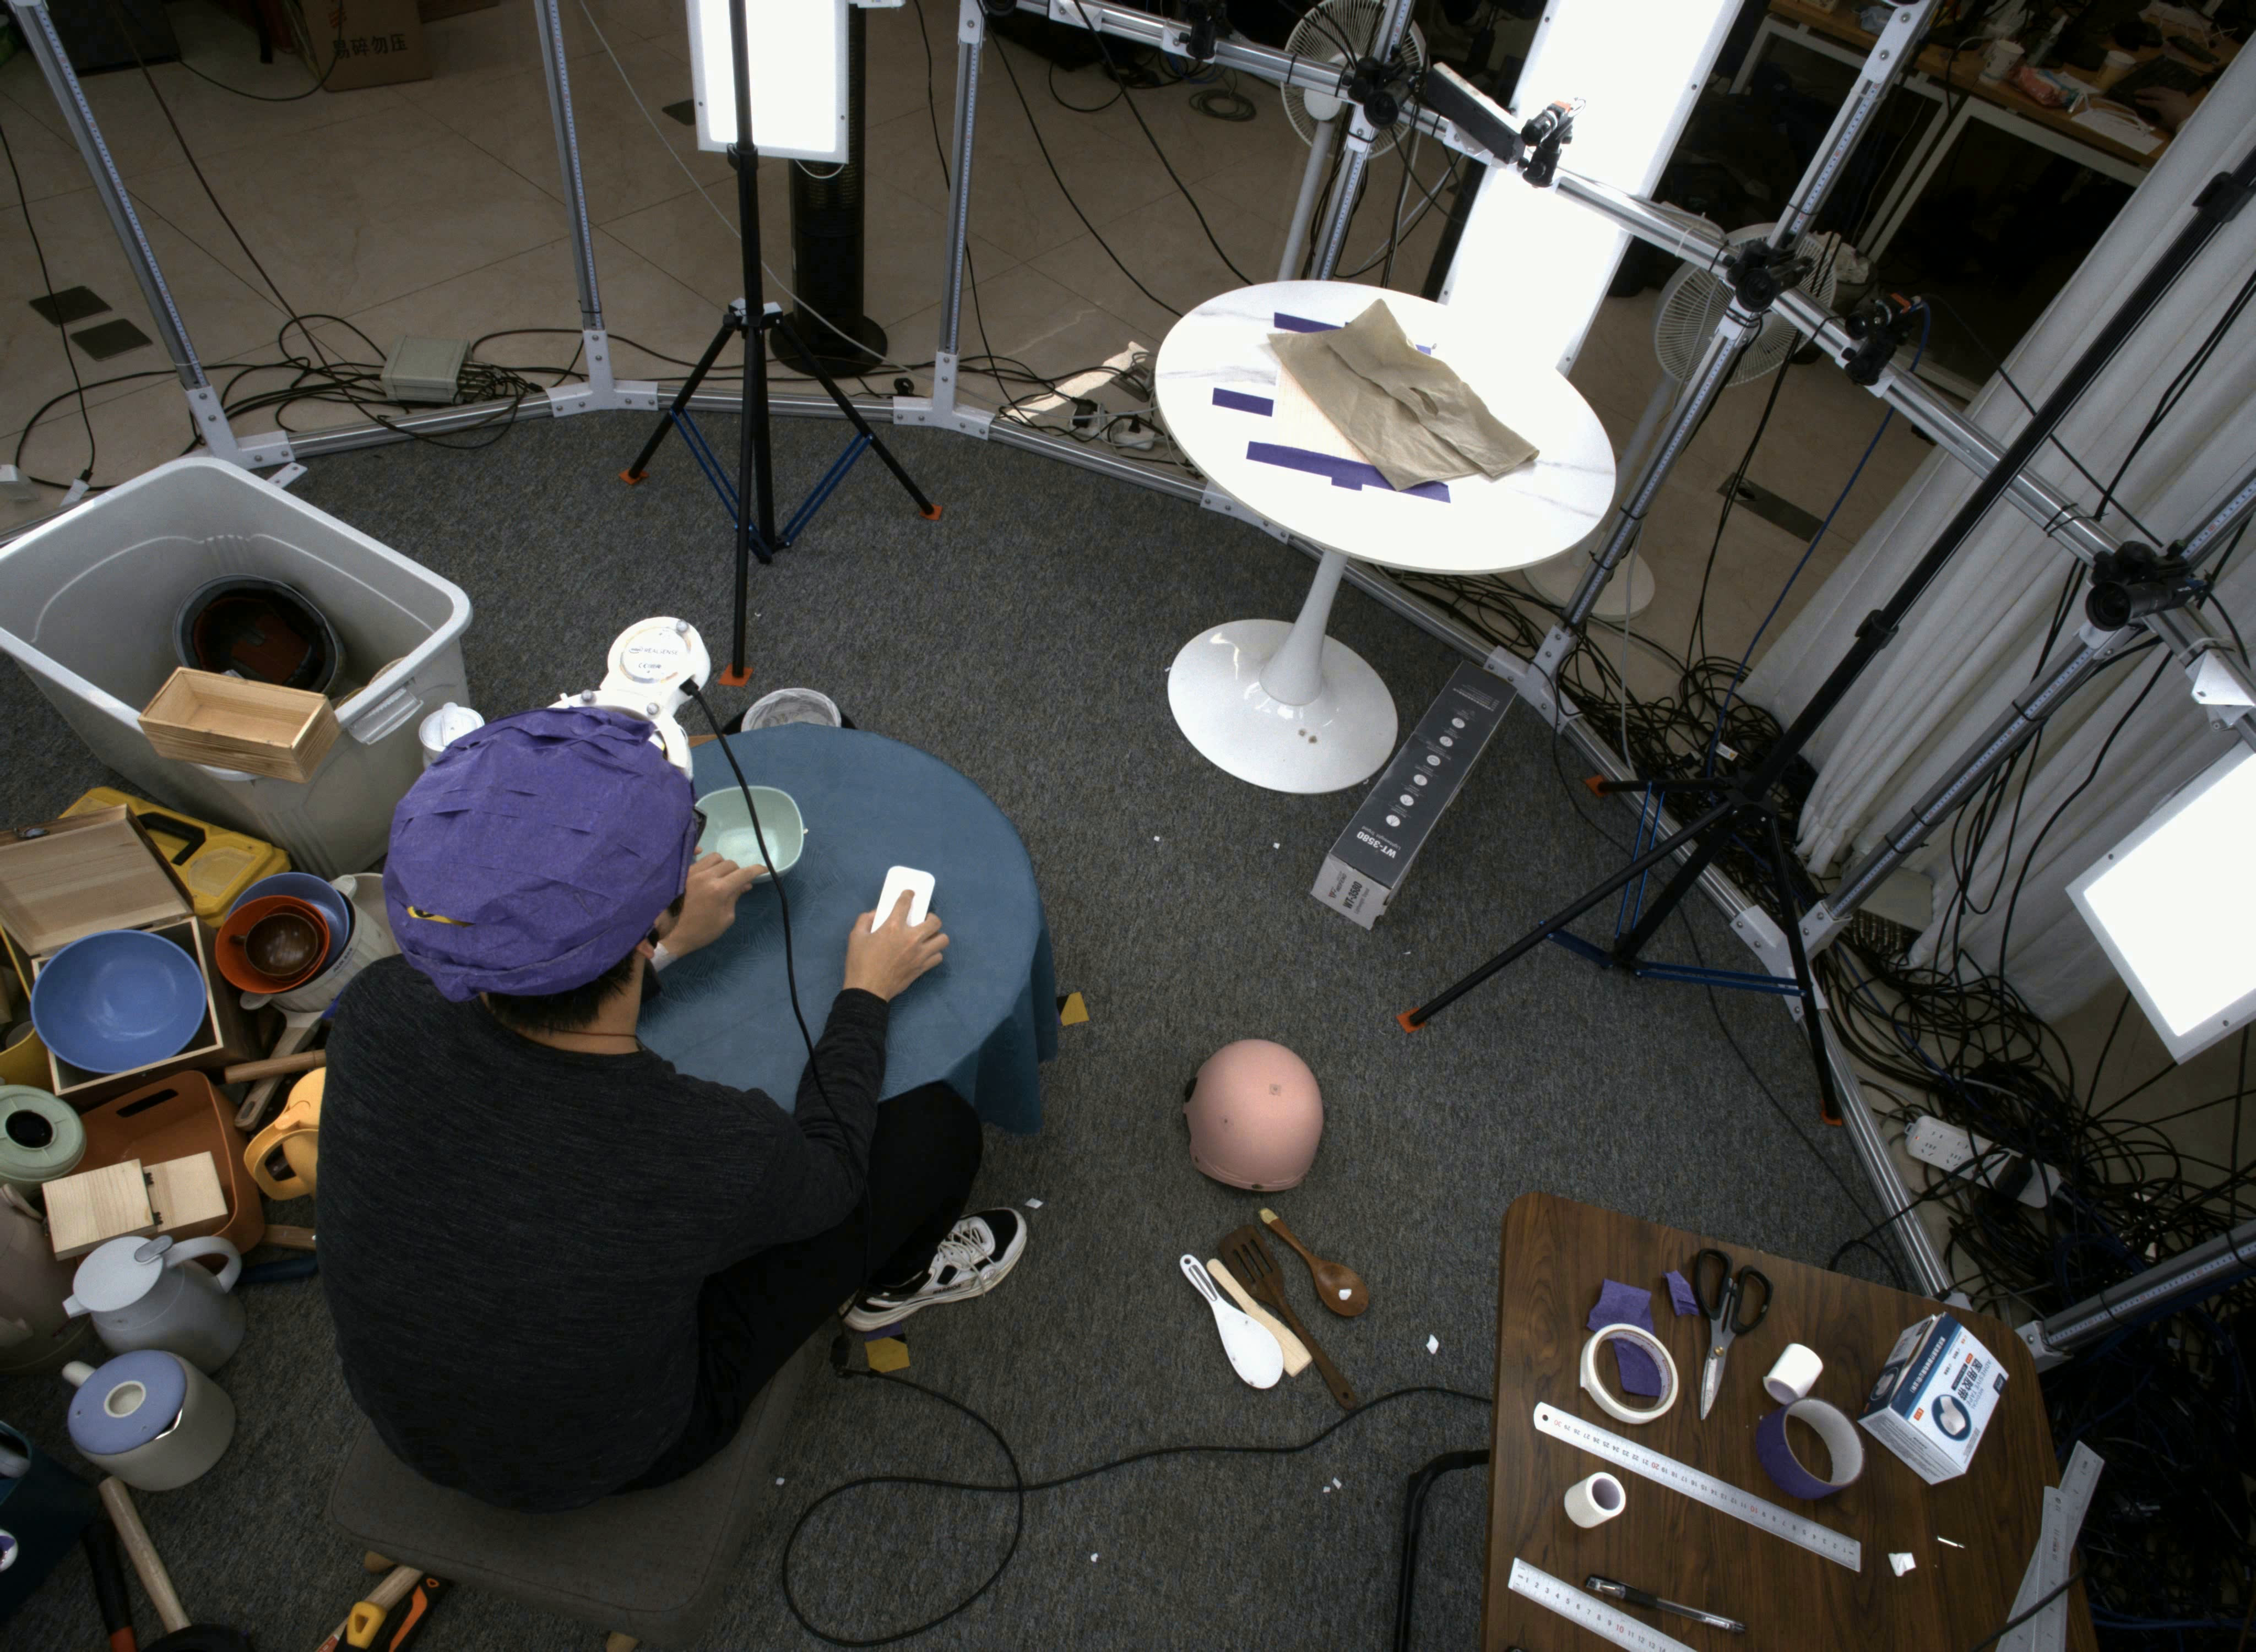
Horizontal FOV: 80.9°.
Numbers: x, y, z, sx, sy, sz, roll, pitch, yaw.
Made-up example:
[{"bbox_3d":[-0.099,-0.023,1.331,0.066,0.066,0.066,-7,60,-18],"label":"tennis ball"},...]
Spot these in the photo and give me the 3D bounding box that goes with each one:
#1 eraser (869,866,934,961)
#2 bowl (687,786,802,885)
[{"bbox_3d":[-0.286,0.106,1.635,0.063,0.035,0.129,14,49,-7],"label":"eraser"},{"bbox_3d":[-0.477,0.020,1.615,0.151,0.060,0.149,8,54,-9],"label":"bowl"}]
